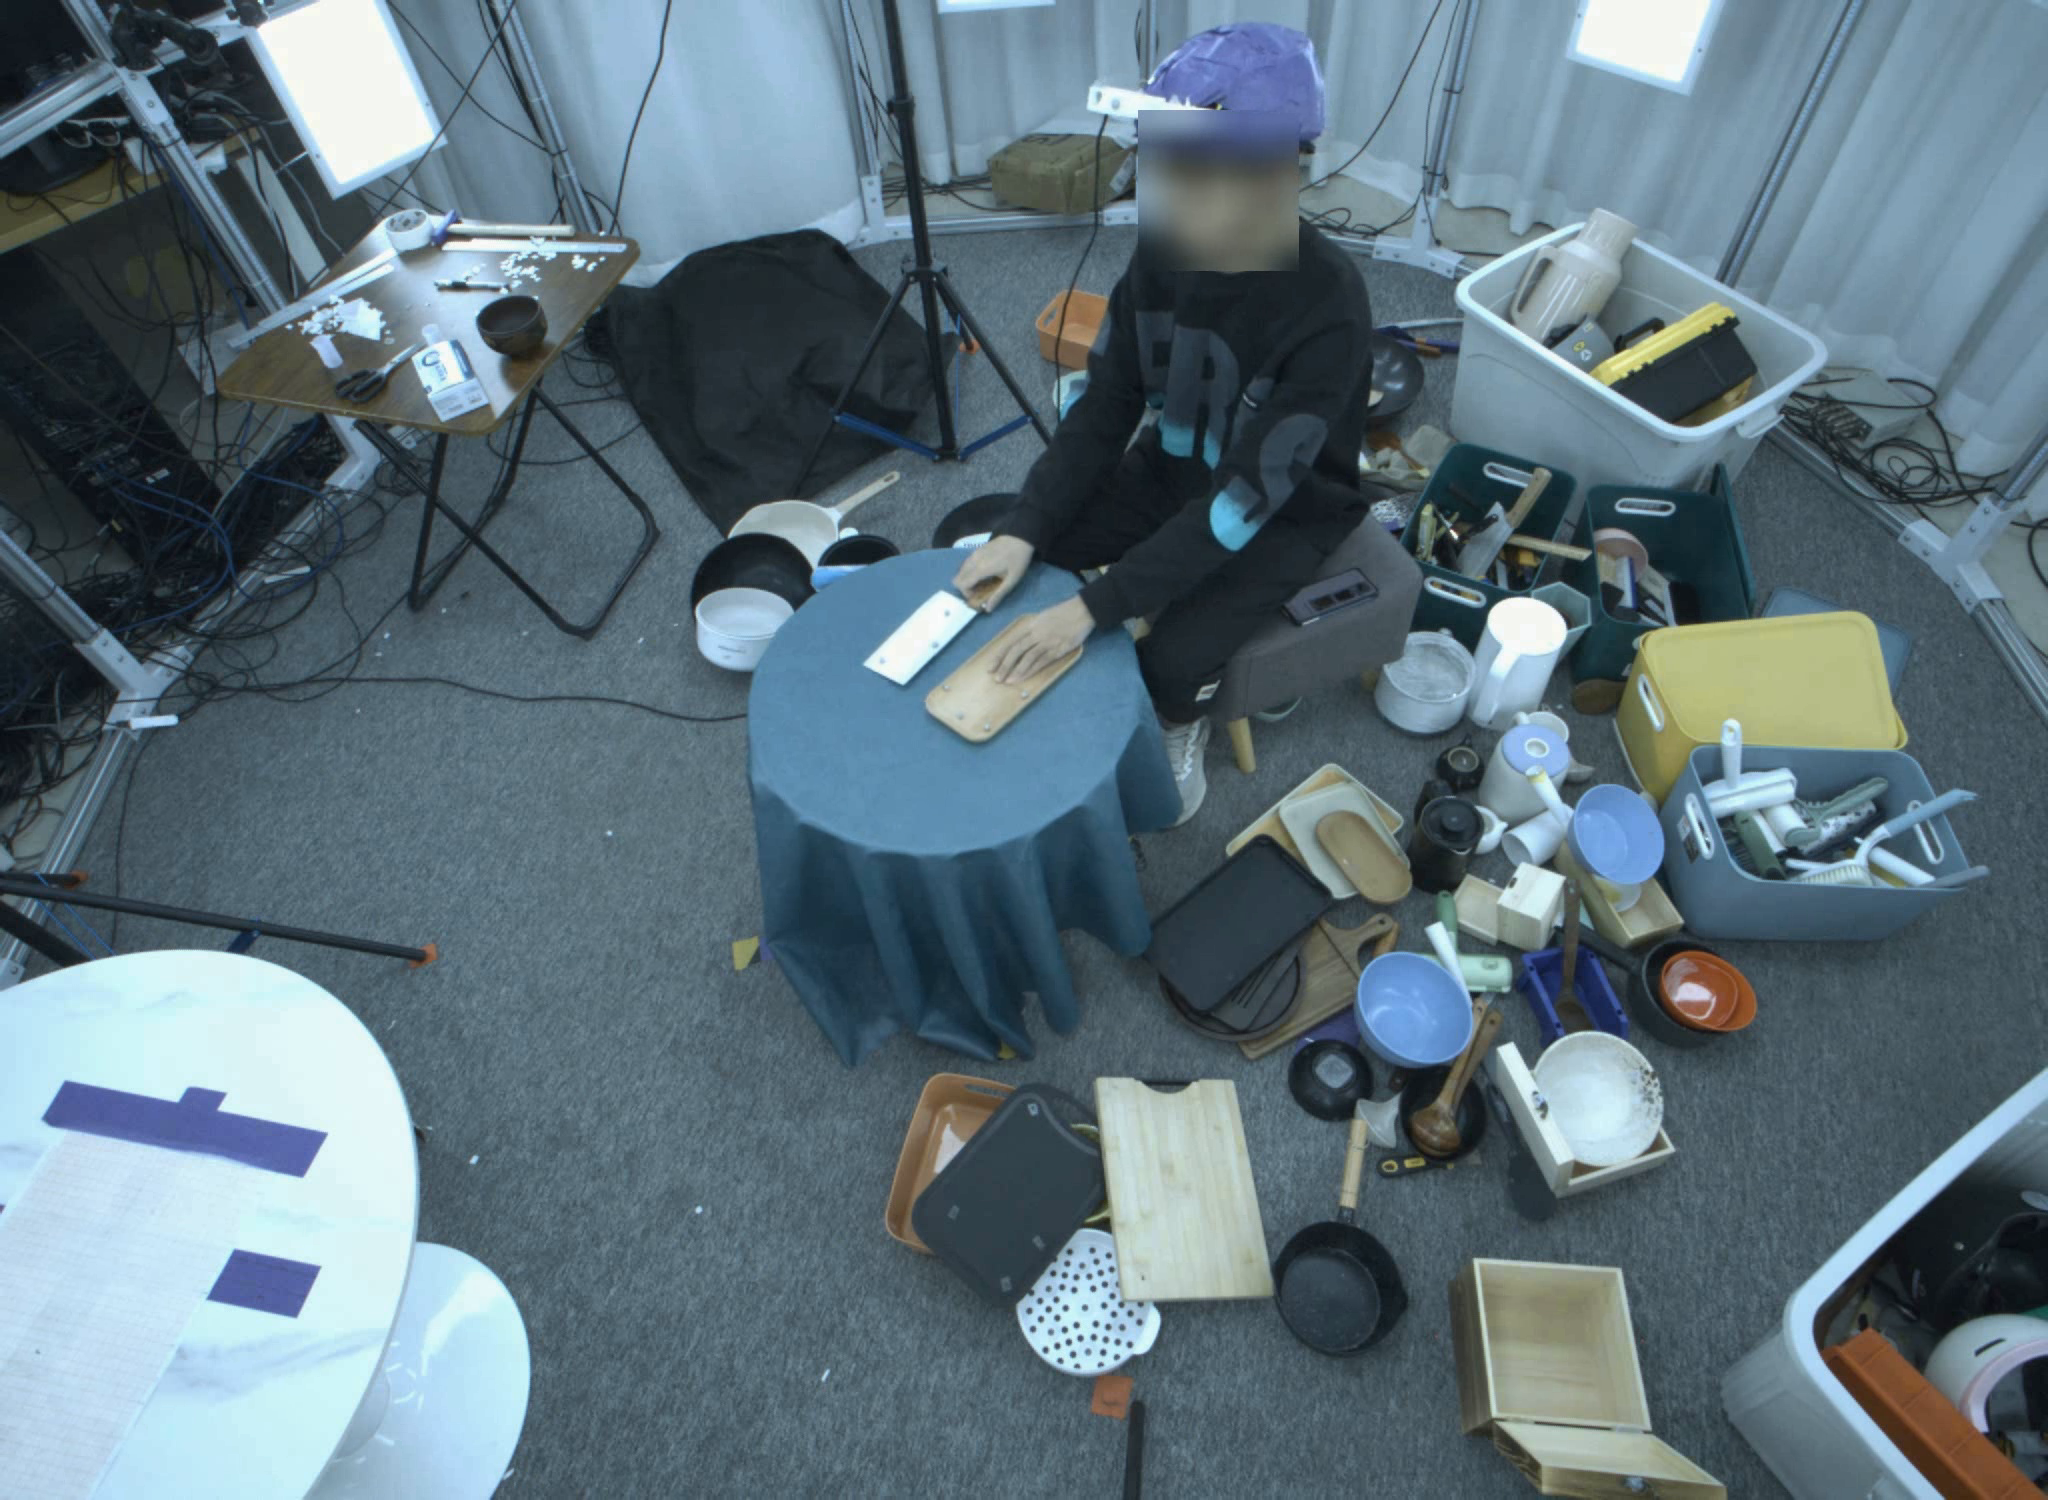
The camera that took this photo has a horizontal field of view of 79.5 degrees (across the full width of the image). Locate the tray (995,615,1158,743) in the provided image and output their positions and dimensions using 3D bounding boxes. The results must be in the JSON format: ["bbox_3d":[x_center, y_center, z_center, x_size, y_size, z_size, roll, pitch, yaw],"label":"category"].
[{"bbox_3d":[0.080,-0.109,1.851,0.252,0.023,0.128,-37,63,-22],"label":"tray"}]

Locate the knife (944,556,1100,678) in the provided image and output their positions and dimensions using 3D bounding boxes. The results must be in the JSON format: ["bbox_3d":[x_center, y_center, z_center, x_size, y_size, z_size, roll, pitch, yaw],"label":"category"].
[{"bbox_3d":[-0.006,-0.220,1.934,0.091,0.021,0.307,31,62,30],"label":"knife"}]
